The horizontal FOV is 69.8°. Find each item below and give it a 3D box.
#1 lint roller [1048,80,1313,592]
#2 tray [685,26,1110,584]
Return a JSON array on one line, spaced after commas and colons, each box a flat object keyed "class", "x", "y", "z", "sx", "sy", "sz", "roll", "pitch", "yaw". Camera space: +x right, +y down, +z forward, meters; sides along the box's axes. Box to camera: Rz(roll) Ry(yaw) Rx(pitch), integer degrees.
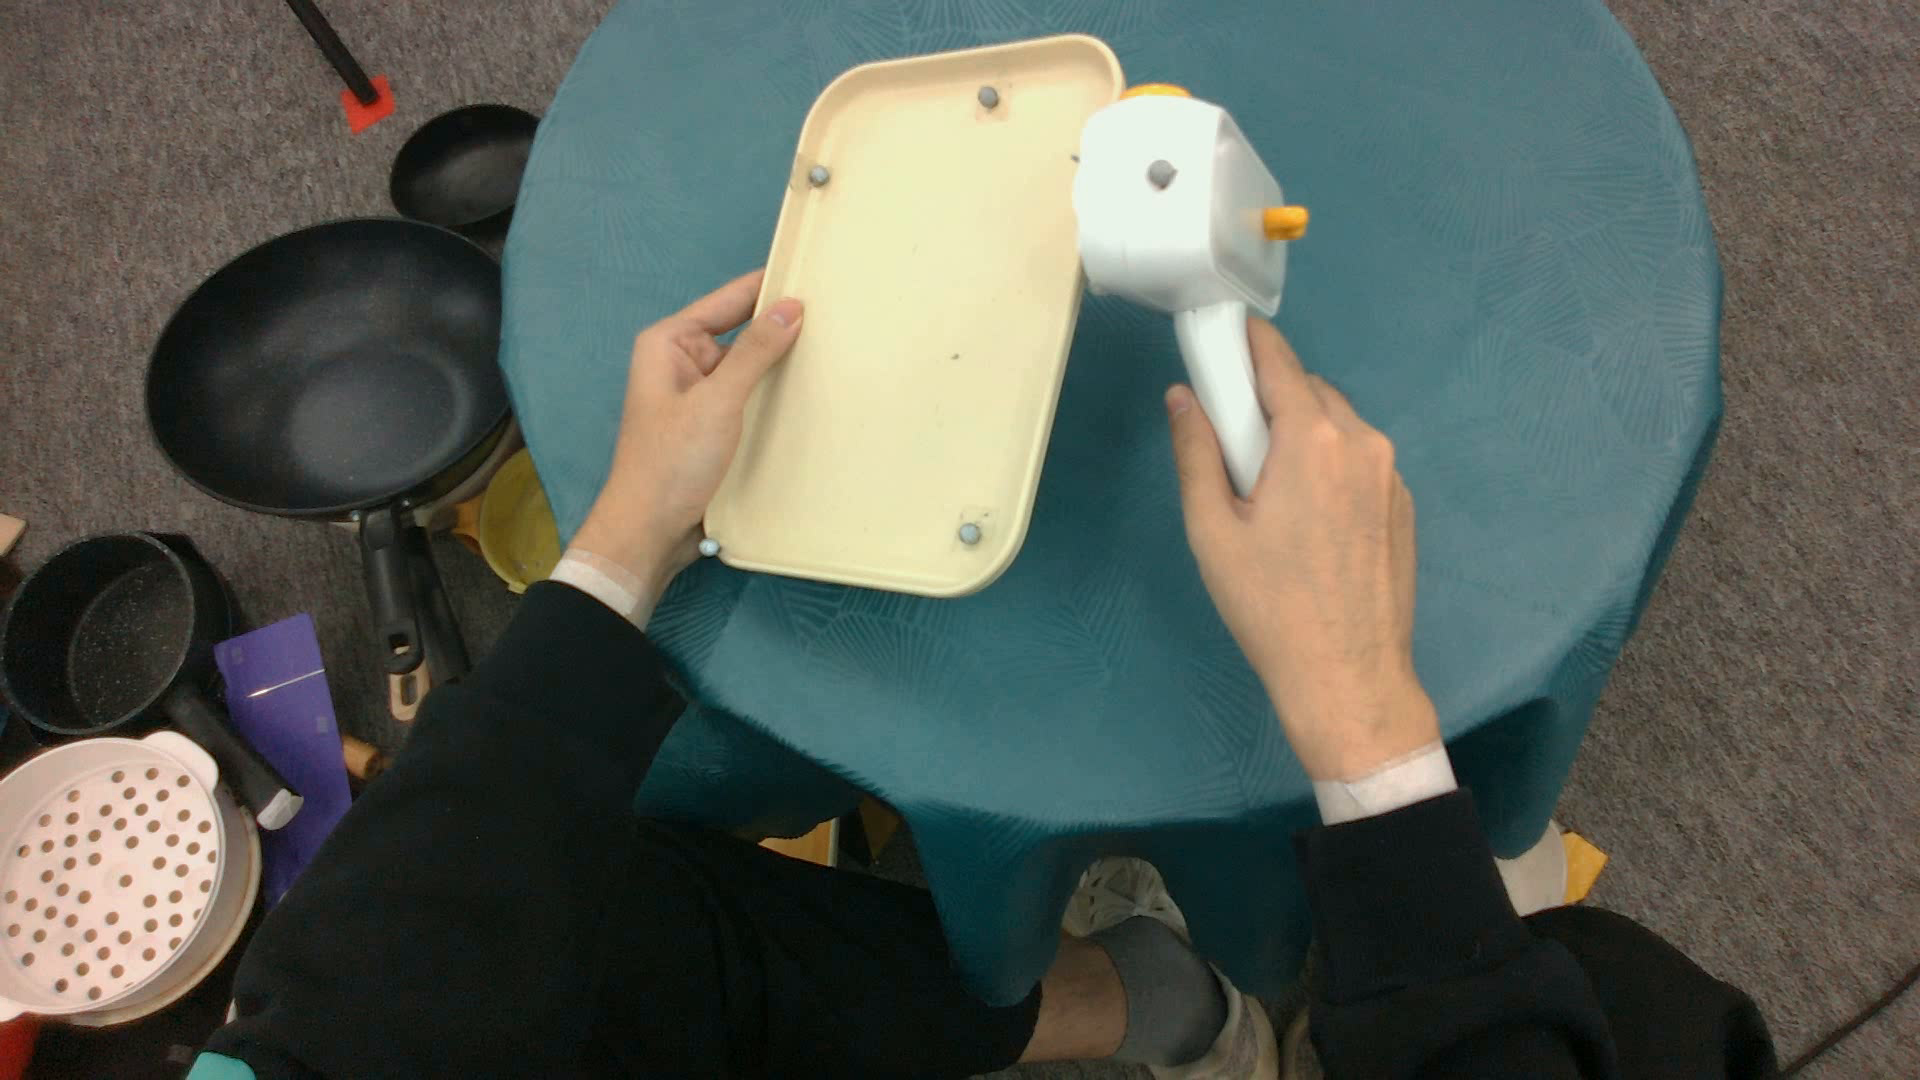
[{"class": "lint roller", "x": 0.095, "y": -0.072, "z": 0.539, "sx": 0.074, "sy": 0.193, "sz": 0.192, "roll": -8, "pitch": 94, "yaw": 16}, {"class": "tray", "x": -0.028, "y": -0.101, "z": 0.584, "sx": 0.171, "sy": 0.017, "sz": 0.240, "roll": 7, "pitch": 78, "yaw": 34}]
